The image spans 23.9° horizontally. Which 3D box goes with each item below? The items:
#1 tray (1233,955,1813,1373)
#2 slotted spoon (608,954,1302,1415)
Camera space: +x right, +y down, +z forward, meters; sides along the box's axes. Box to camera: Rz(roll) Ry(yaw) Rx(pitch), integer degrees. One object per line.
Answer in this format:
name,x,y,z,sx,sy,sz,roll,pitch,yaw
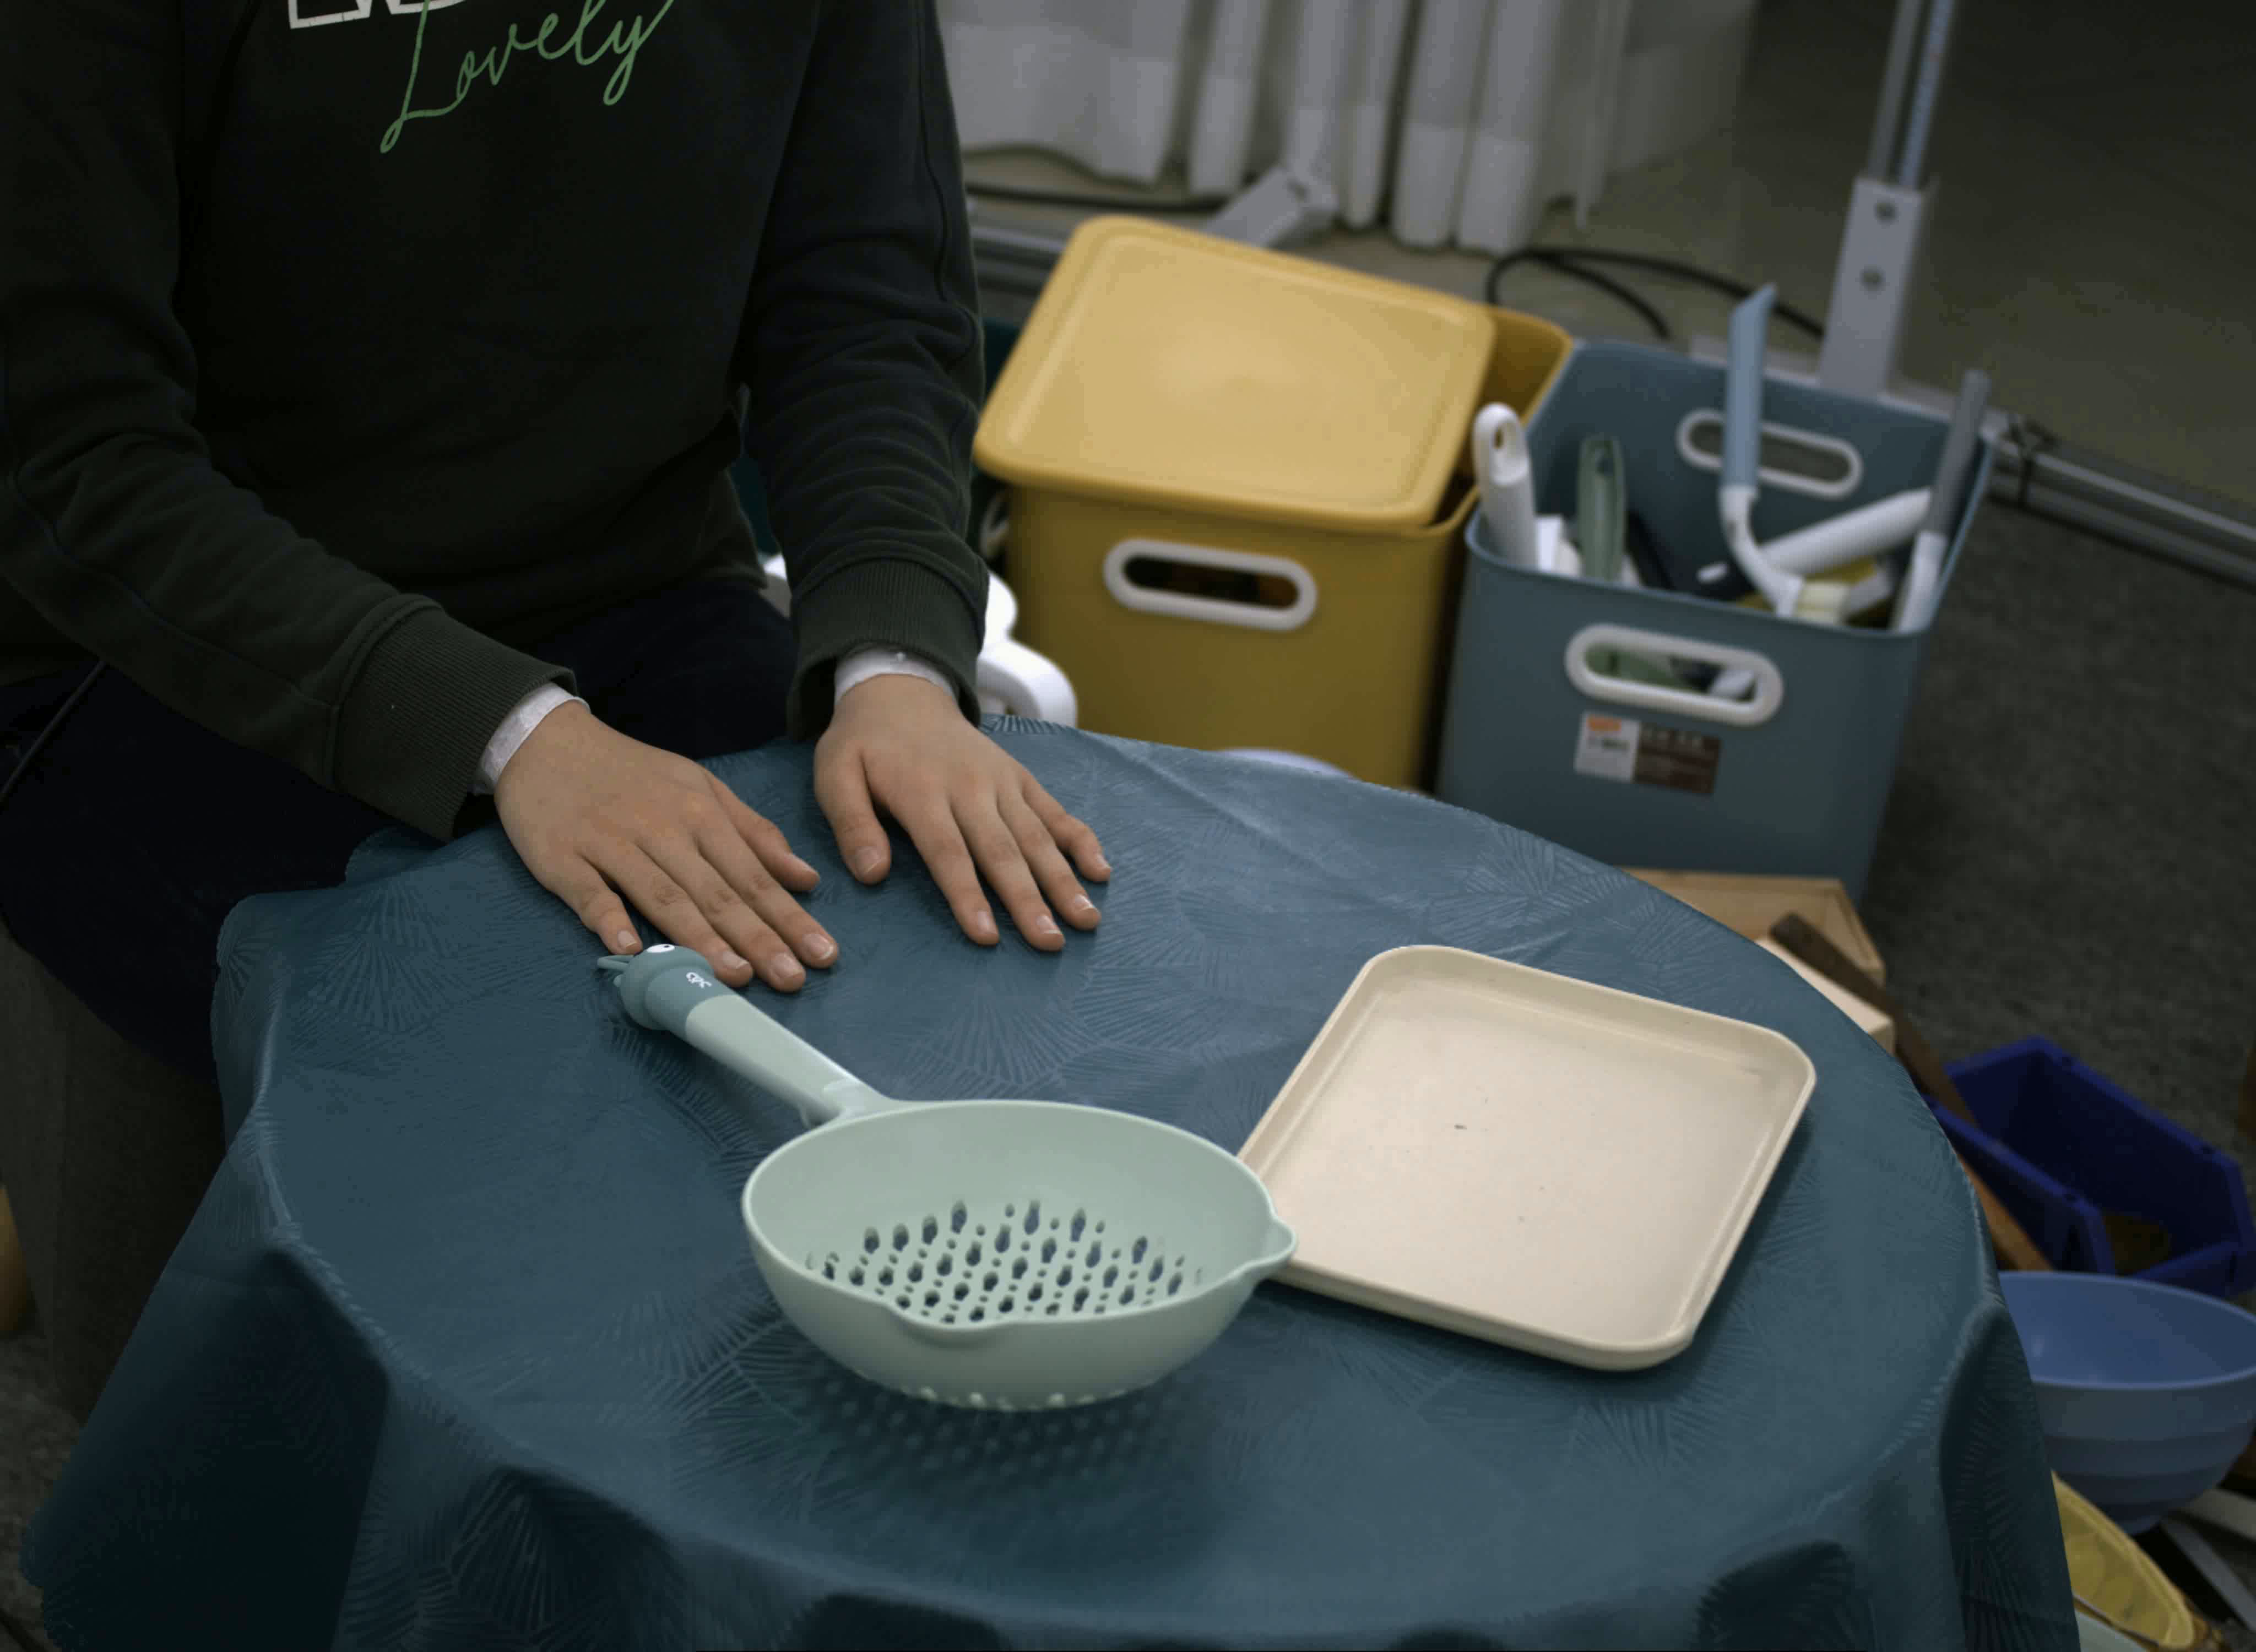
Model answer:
tray,0.135,0.115,1.831,0.171,0.017,0.240,14,27,14
slotted spoon,-0.088,0.102,1.754,0.168,0.075,0.362,-9,30,-30
